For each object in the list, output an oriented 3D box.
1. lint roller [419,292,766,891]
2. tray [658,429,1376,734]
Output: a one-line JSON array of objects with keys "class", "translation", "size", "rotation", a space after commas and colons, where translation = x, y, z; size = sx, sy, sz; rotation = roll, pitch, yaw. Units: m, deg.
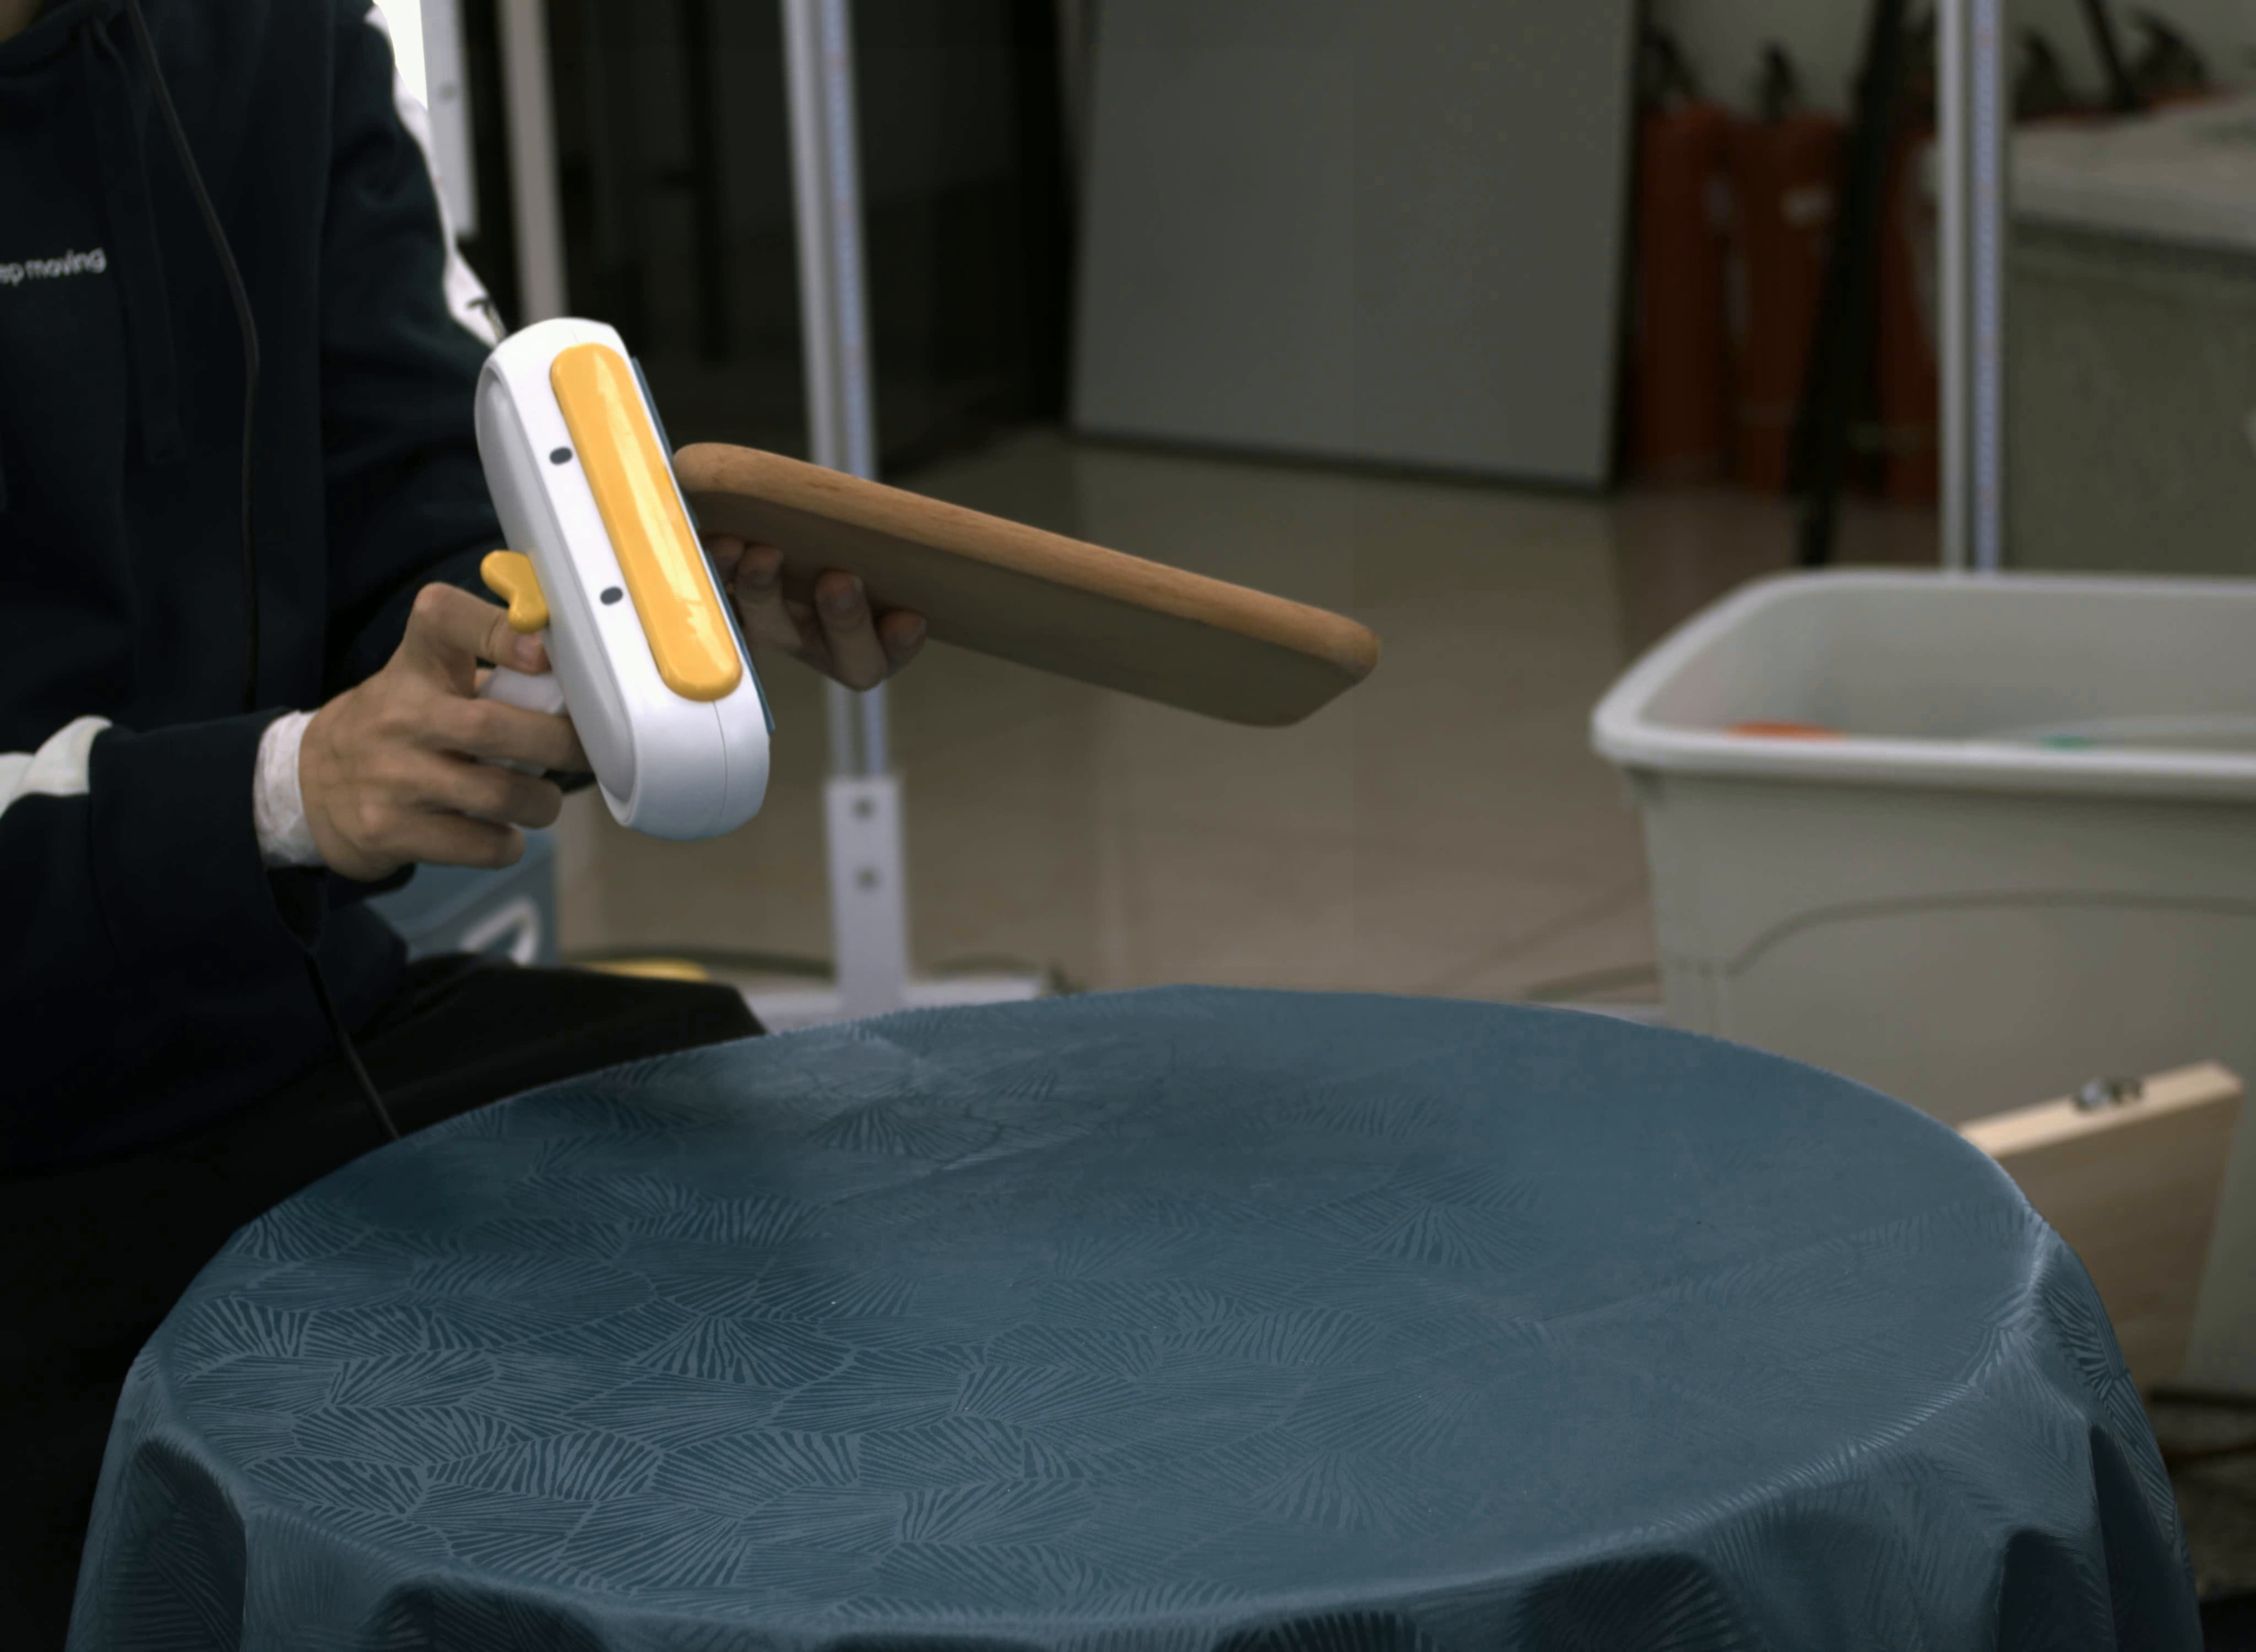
[{"class": "lint roller", "translation": [-0.192, -0.052, 1.826], "size": [0.072, 0.194, 0.195], "rotation": [-12, 56, -29]}, {"class": "tray", "translation": [-0.043, -0.080, 1.844], "size": [0.247, 0.023, 0.131], "rotation": [15, -18, -9]}]
